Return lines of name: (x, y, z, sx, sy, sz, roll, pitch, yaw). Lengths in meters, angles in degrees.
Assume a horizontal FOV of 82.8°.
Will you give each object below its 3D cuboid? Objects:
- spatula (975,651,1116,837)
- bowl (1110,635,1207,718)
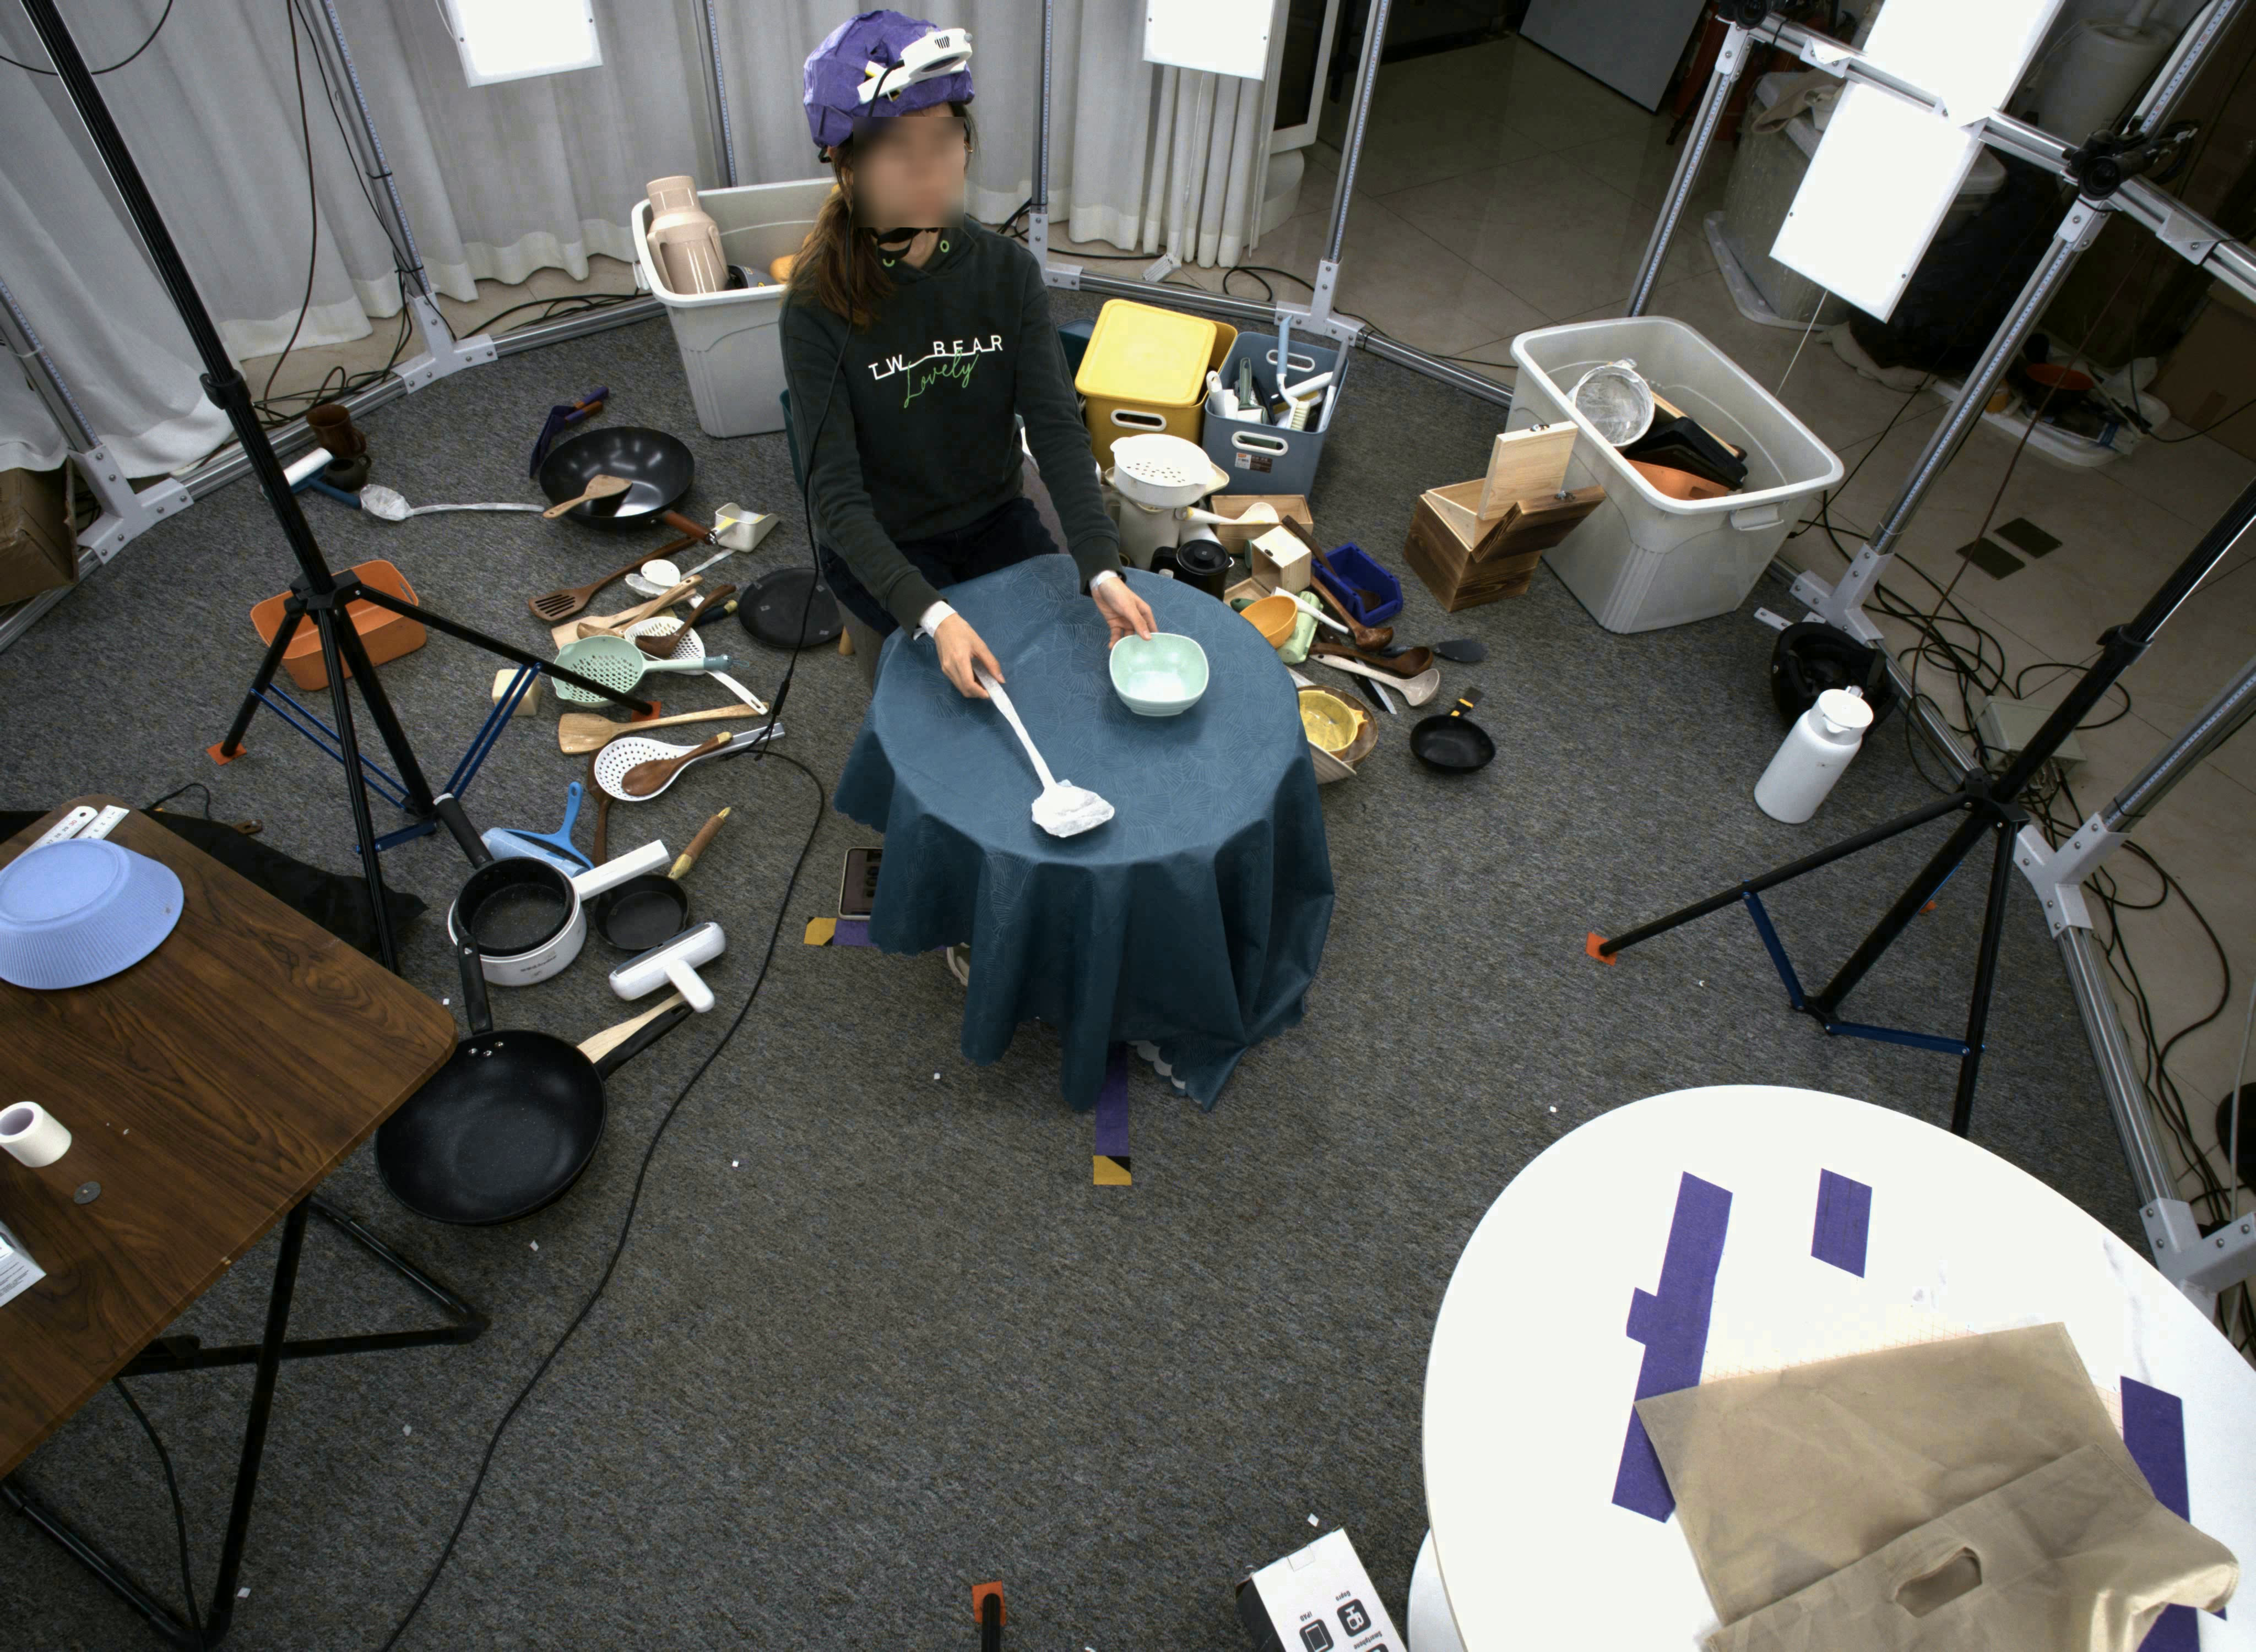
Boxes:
spatula: (-0.134, -0.121, 1.741, 0.099, 0.044, 0.372, -20, 59, -19)
bowl: (0.041, -0.205, 1.830, 0.151, 0.057, 0.155, 3, 50, -4)
